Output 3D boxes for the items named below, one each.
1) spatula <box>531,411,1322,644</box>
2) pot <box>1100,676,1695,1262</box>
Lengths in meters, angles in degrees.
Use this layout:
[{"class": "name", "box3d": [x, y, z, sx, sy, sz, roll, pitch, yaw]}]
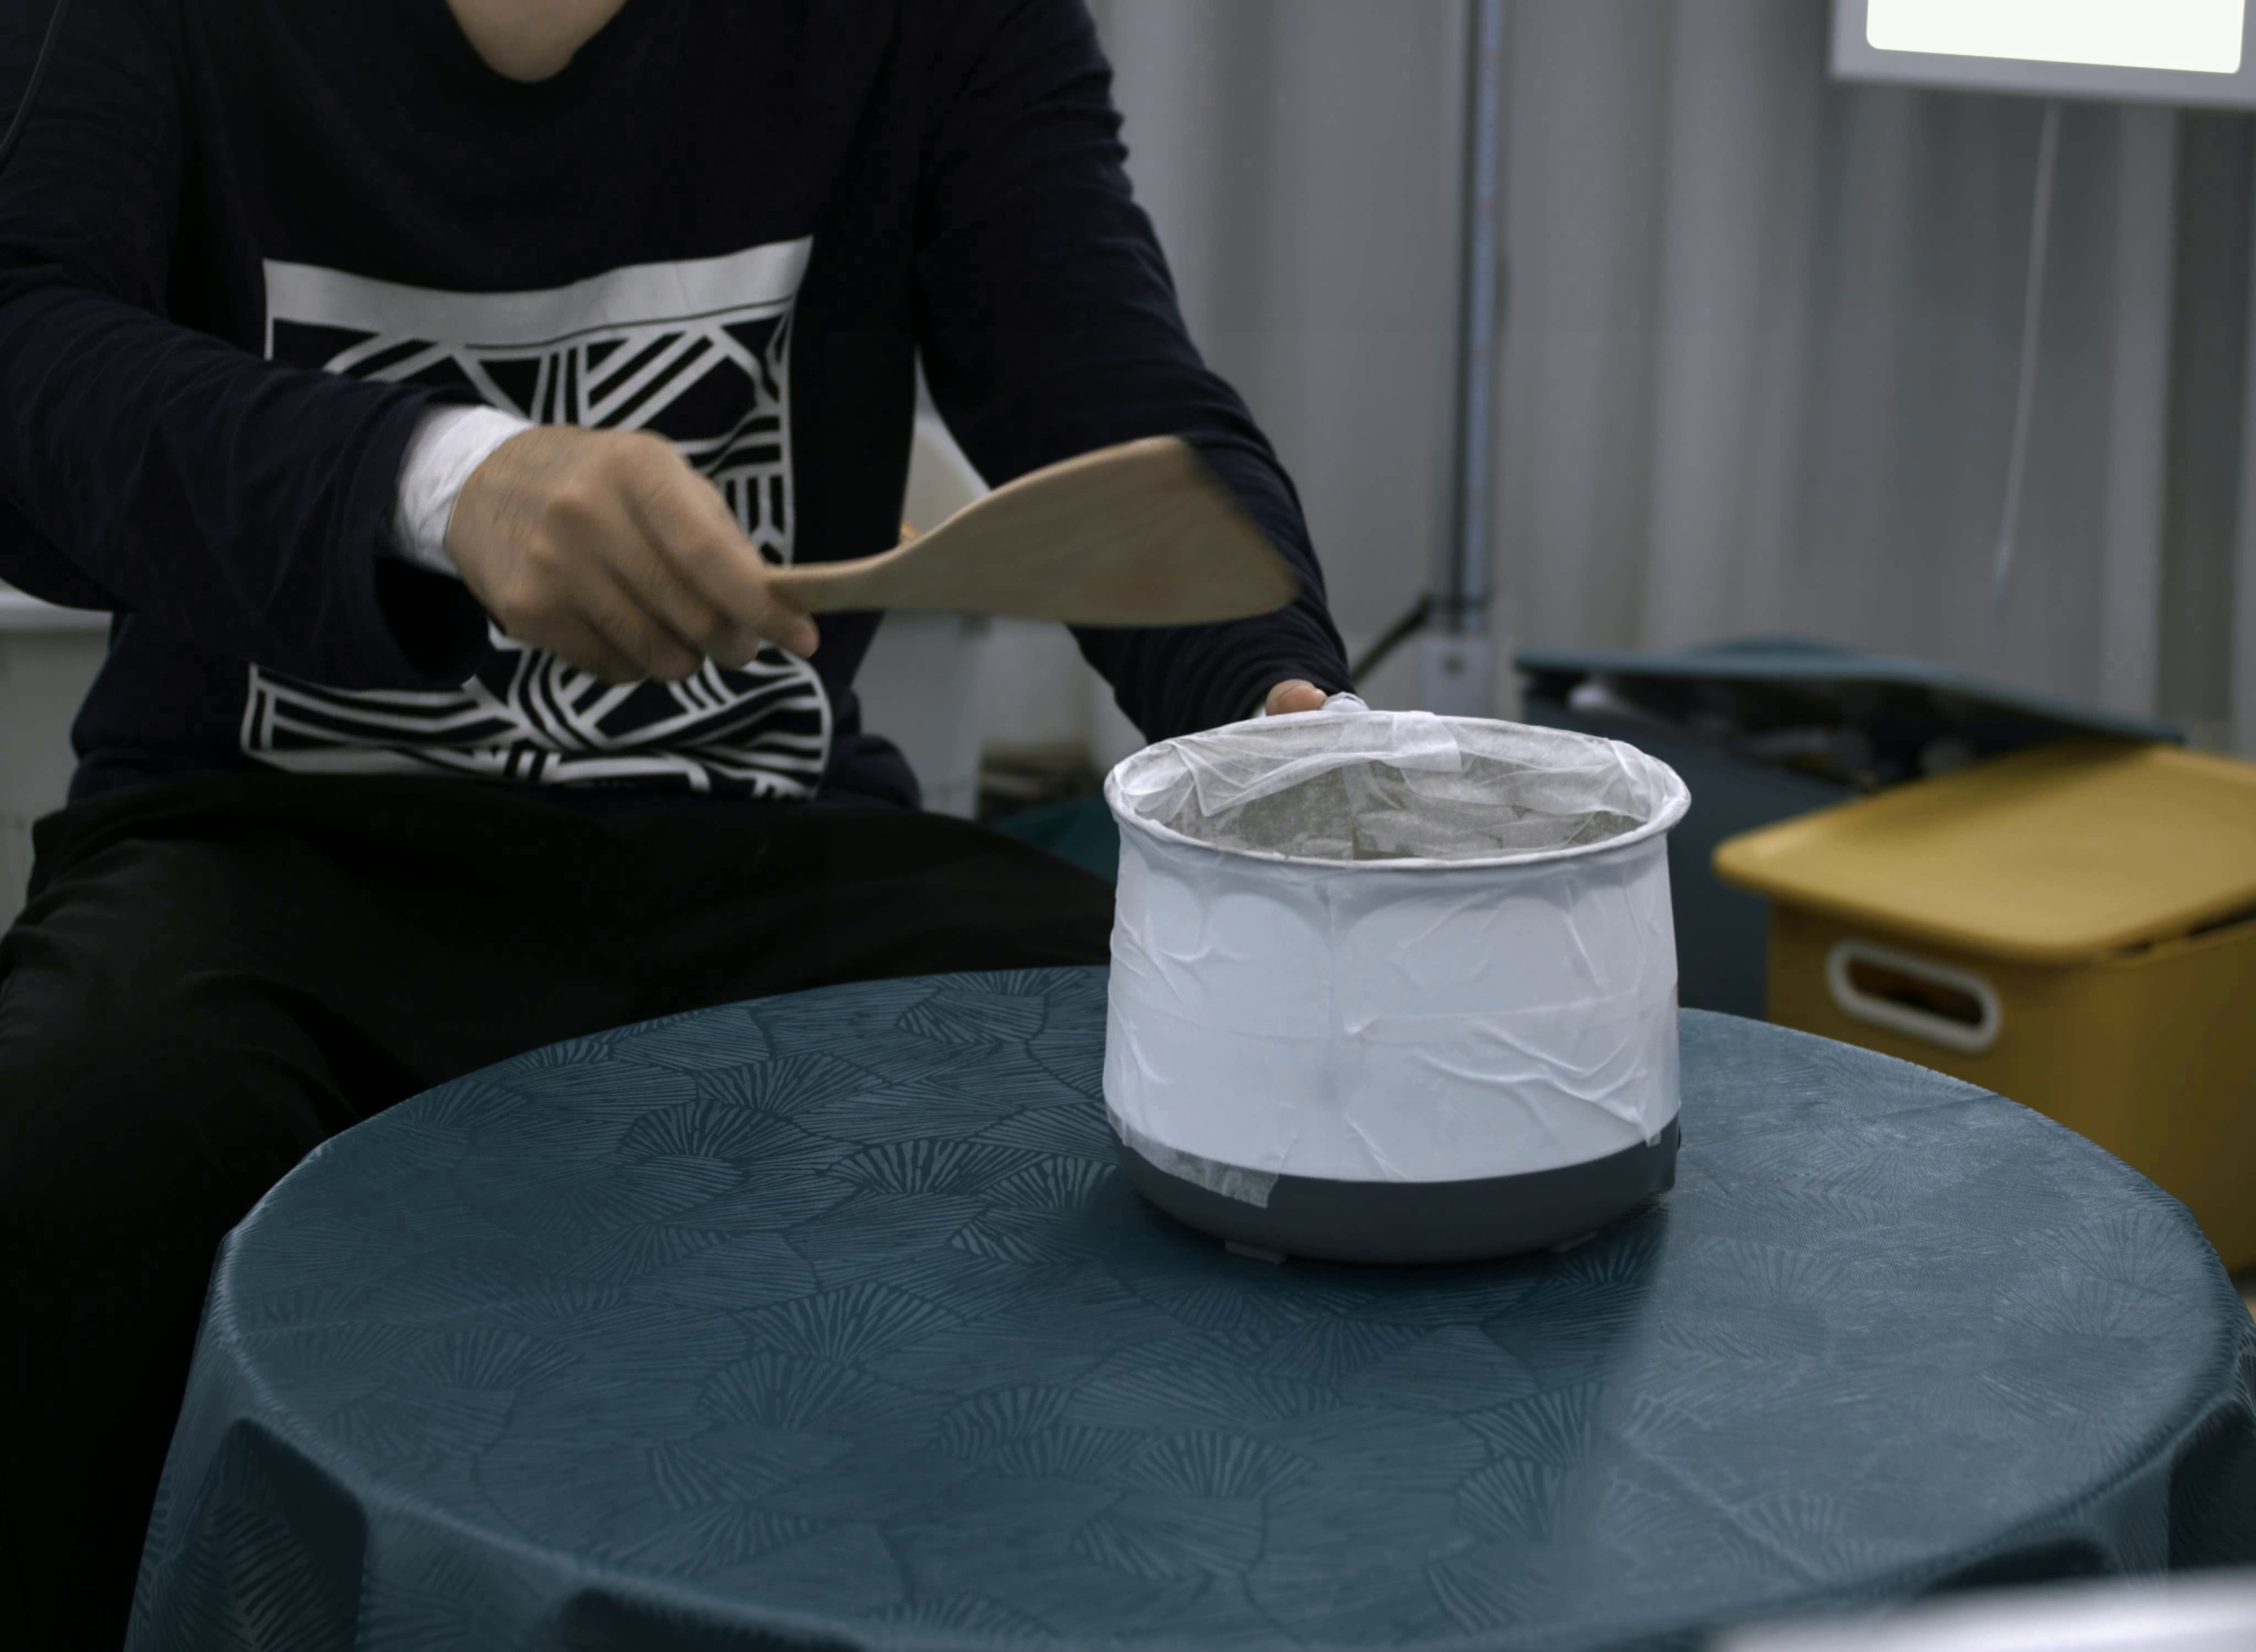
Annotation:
[{"class": "spatula", "box3d": [-0.072, -0.077, 1.552, 0.324, 0.016, 0.081, -4, -36, 47]}, {"class": "pot", "box3d": [0.076, 0.038, 1.625, 0.178, 0.138, 0.232, -1, 17, -9]}]
